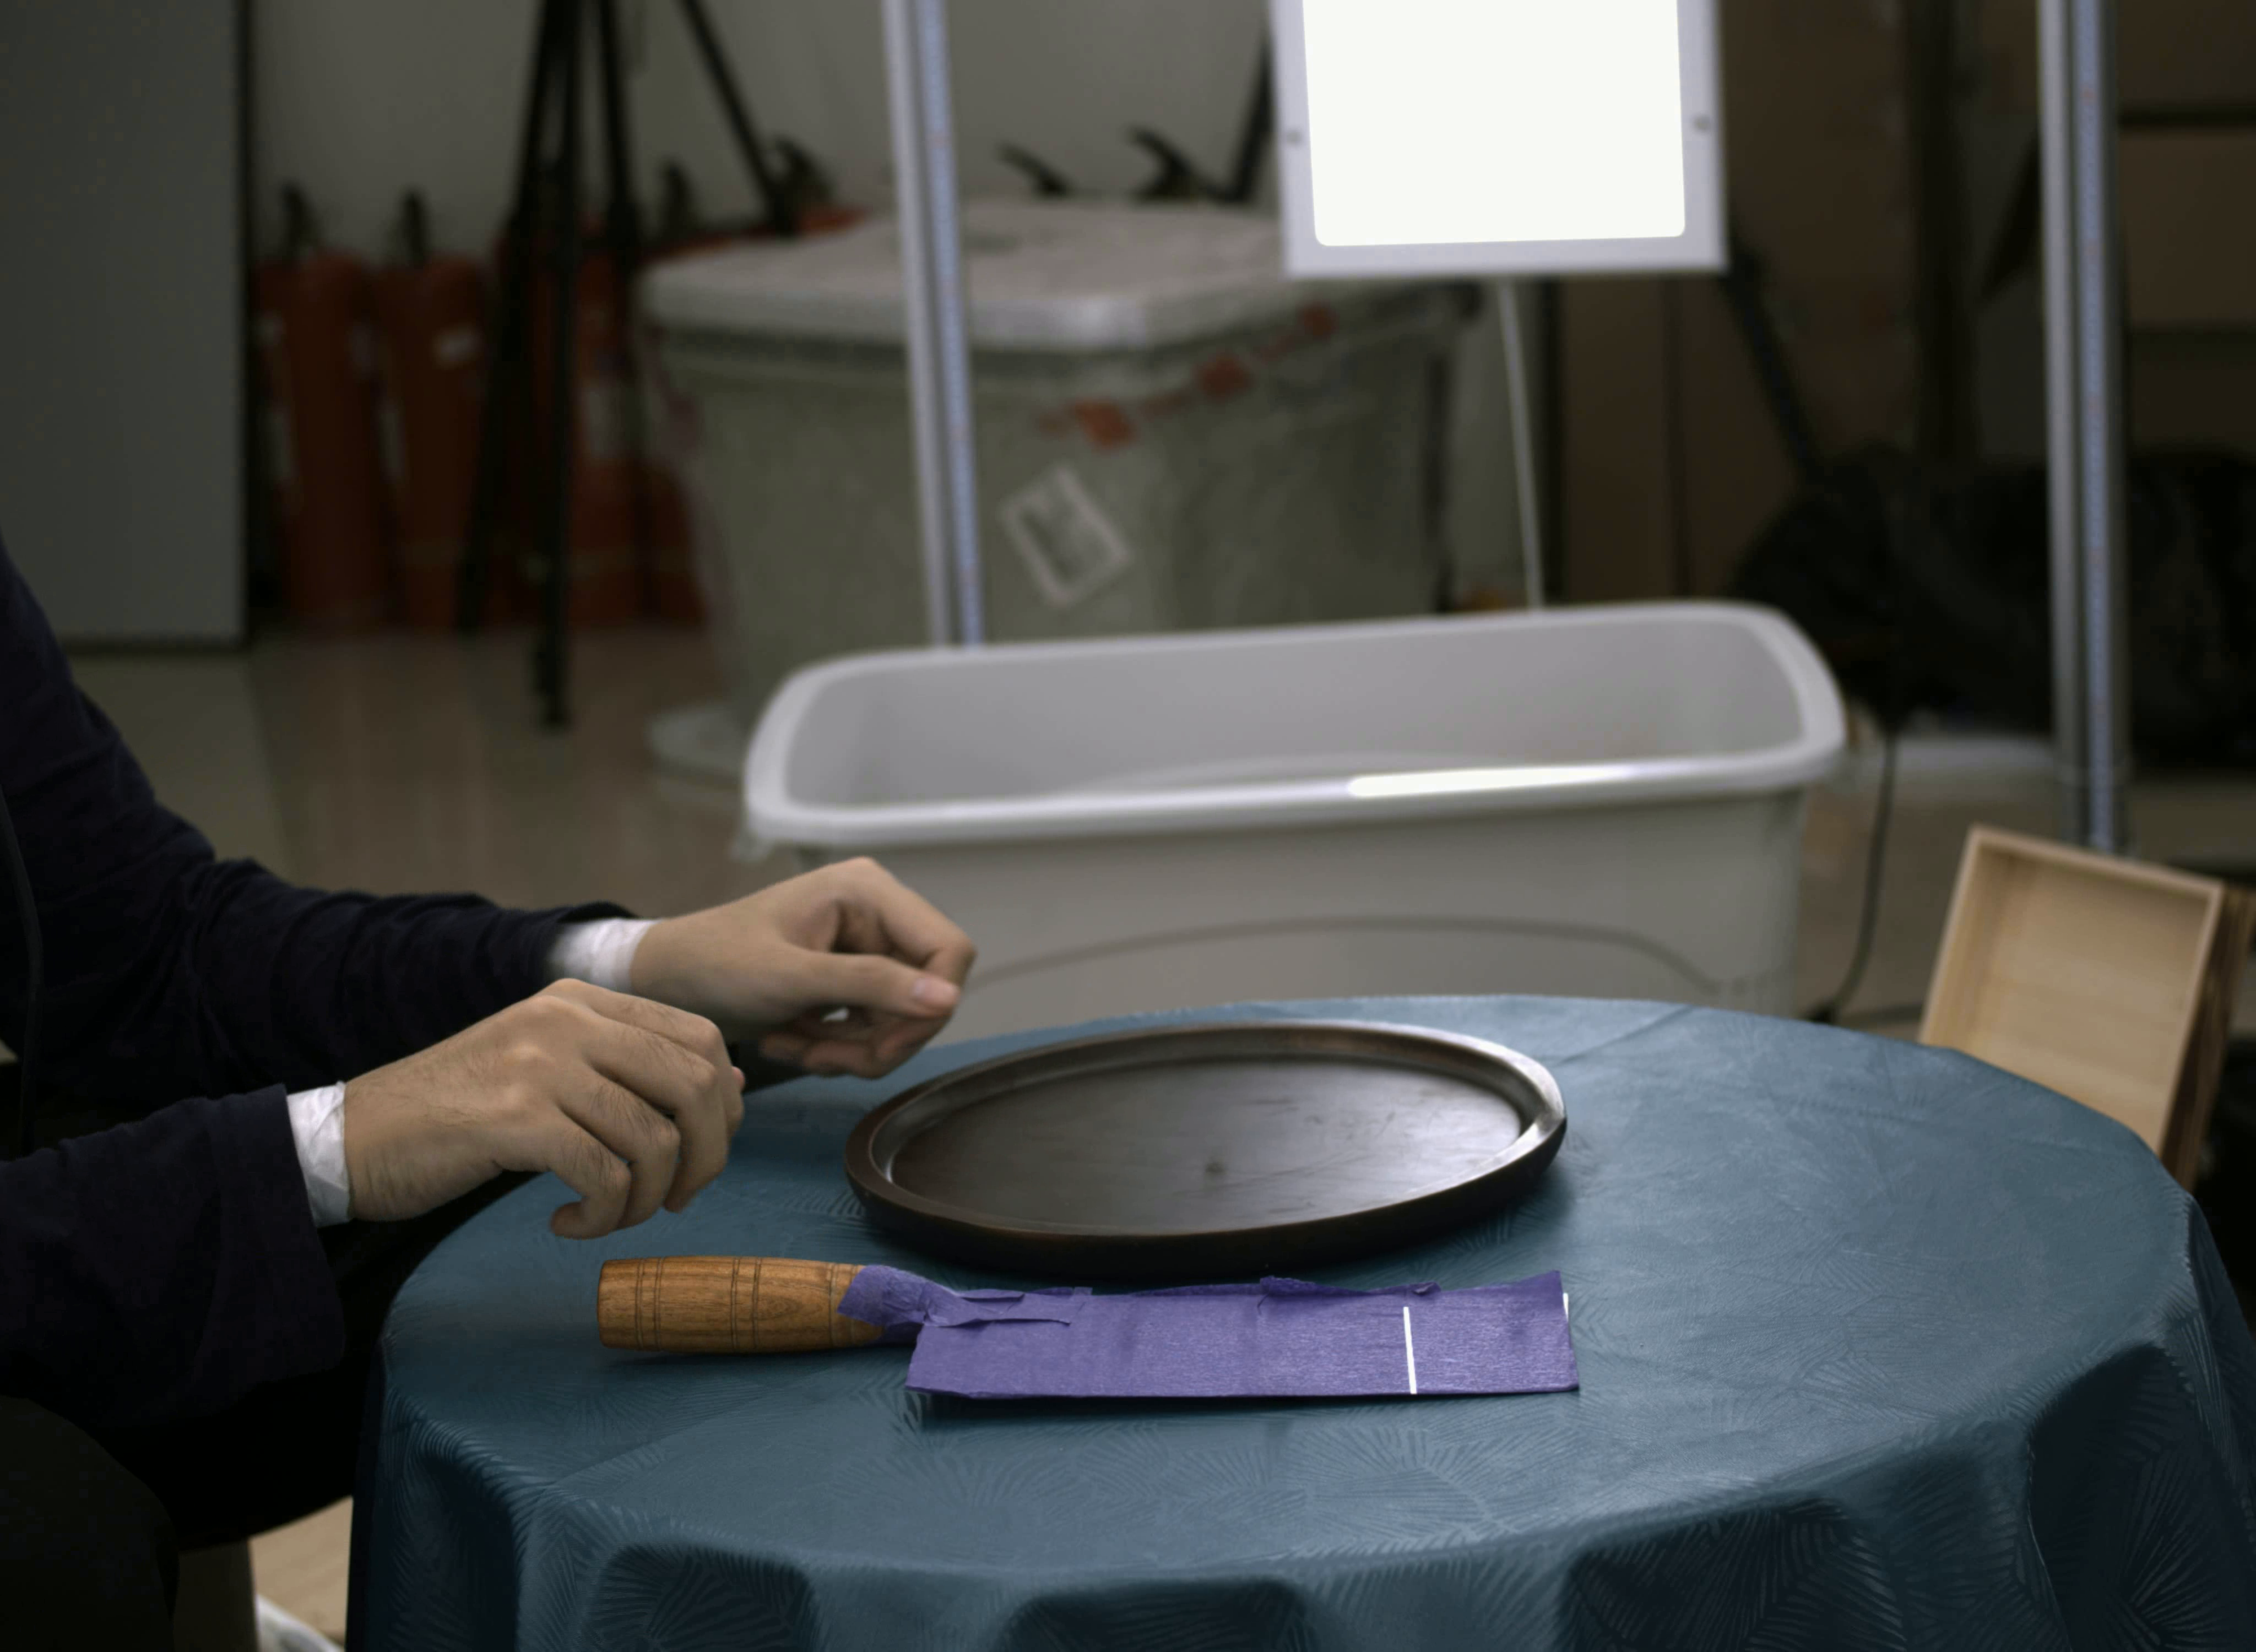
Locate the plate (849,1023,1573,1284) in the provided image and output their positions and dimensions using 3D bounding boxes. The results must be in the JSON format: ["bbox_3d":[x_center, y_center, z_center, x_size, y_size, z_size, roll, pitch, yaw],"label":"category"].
[{"bbox_3d":[0.029,0.111,1.906,0.254,0.029,0.254,-4,14,0],"label":"plate"}]

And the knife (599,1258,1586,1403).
[{"bbox_3d":[-0.014,0.157,1.726,0.316,0.032,0.103,-3,14,6],"label":"knife"}]
